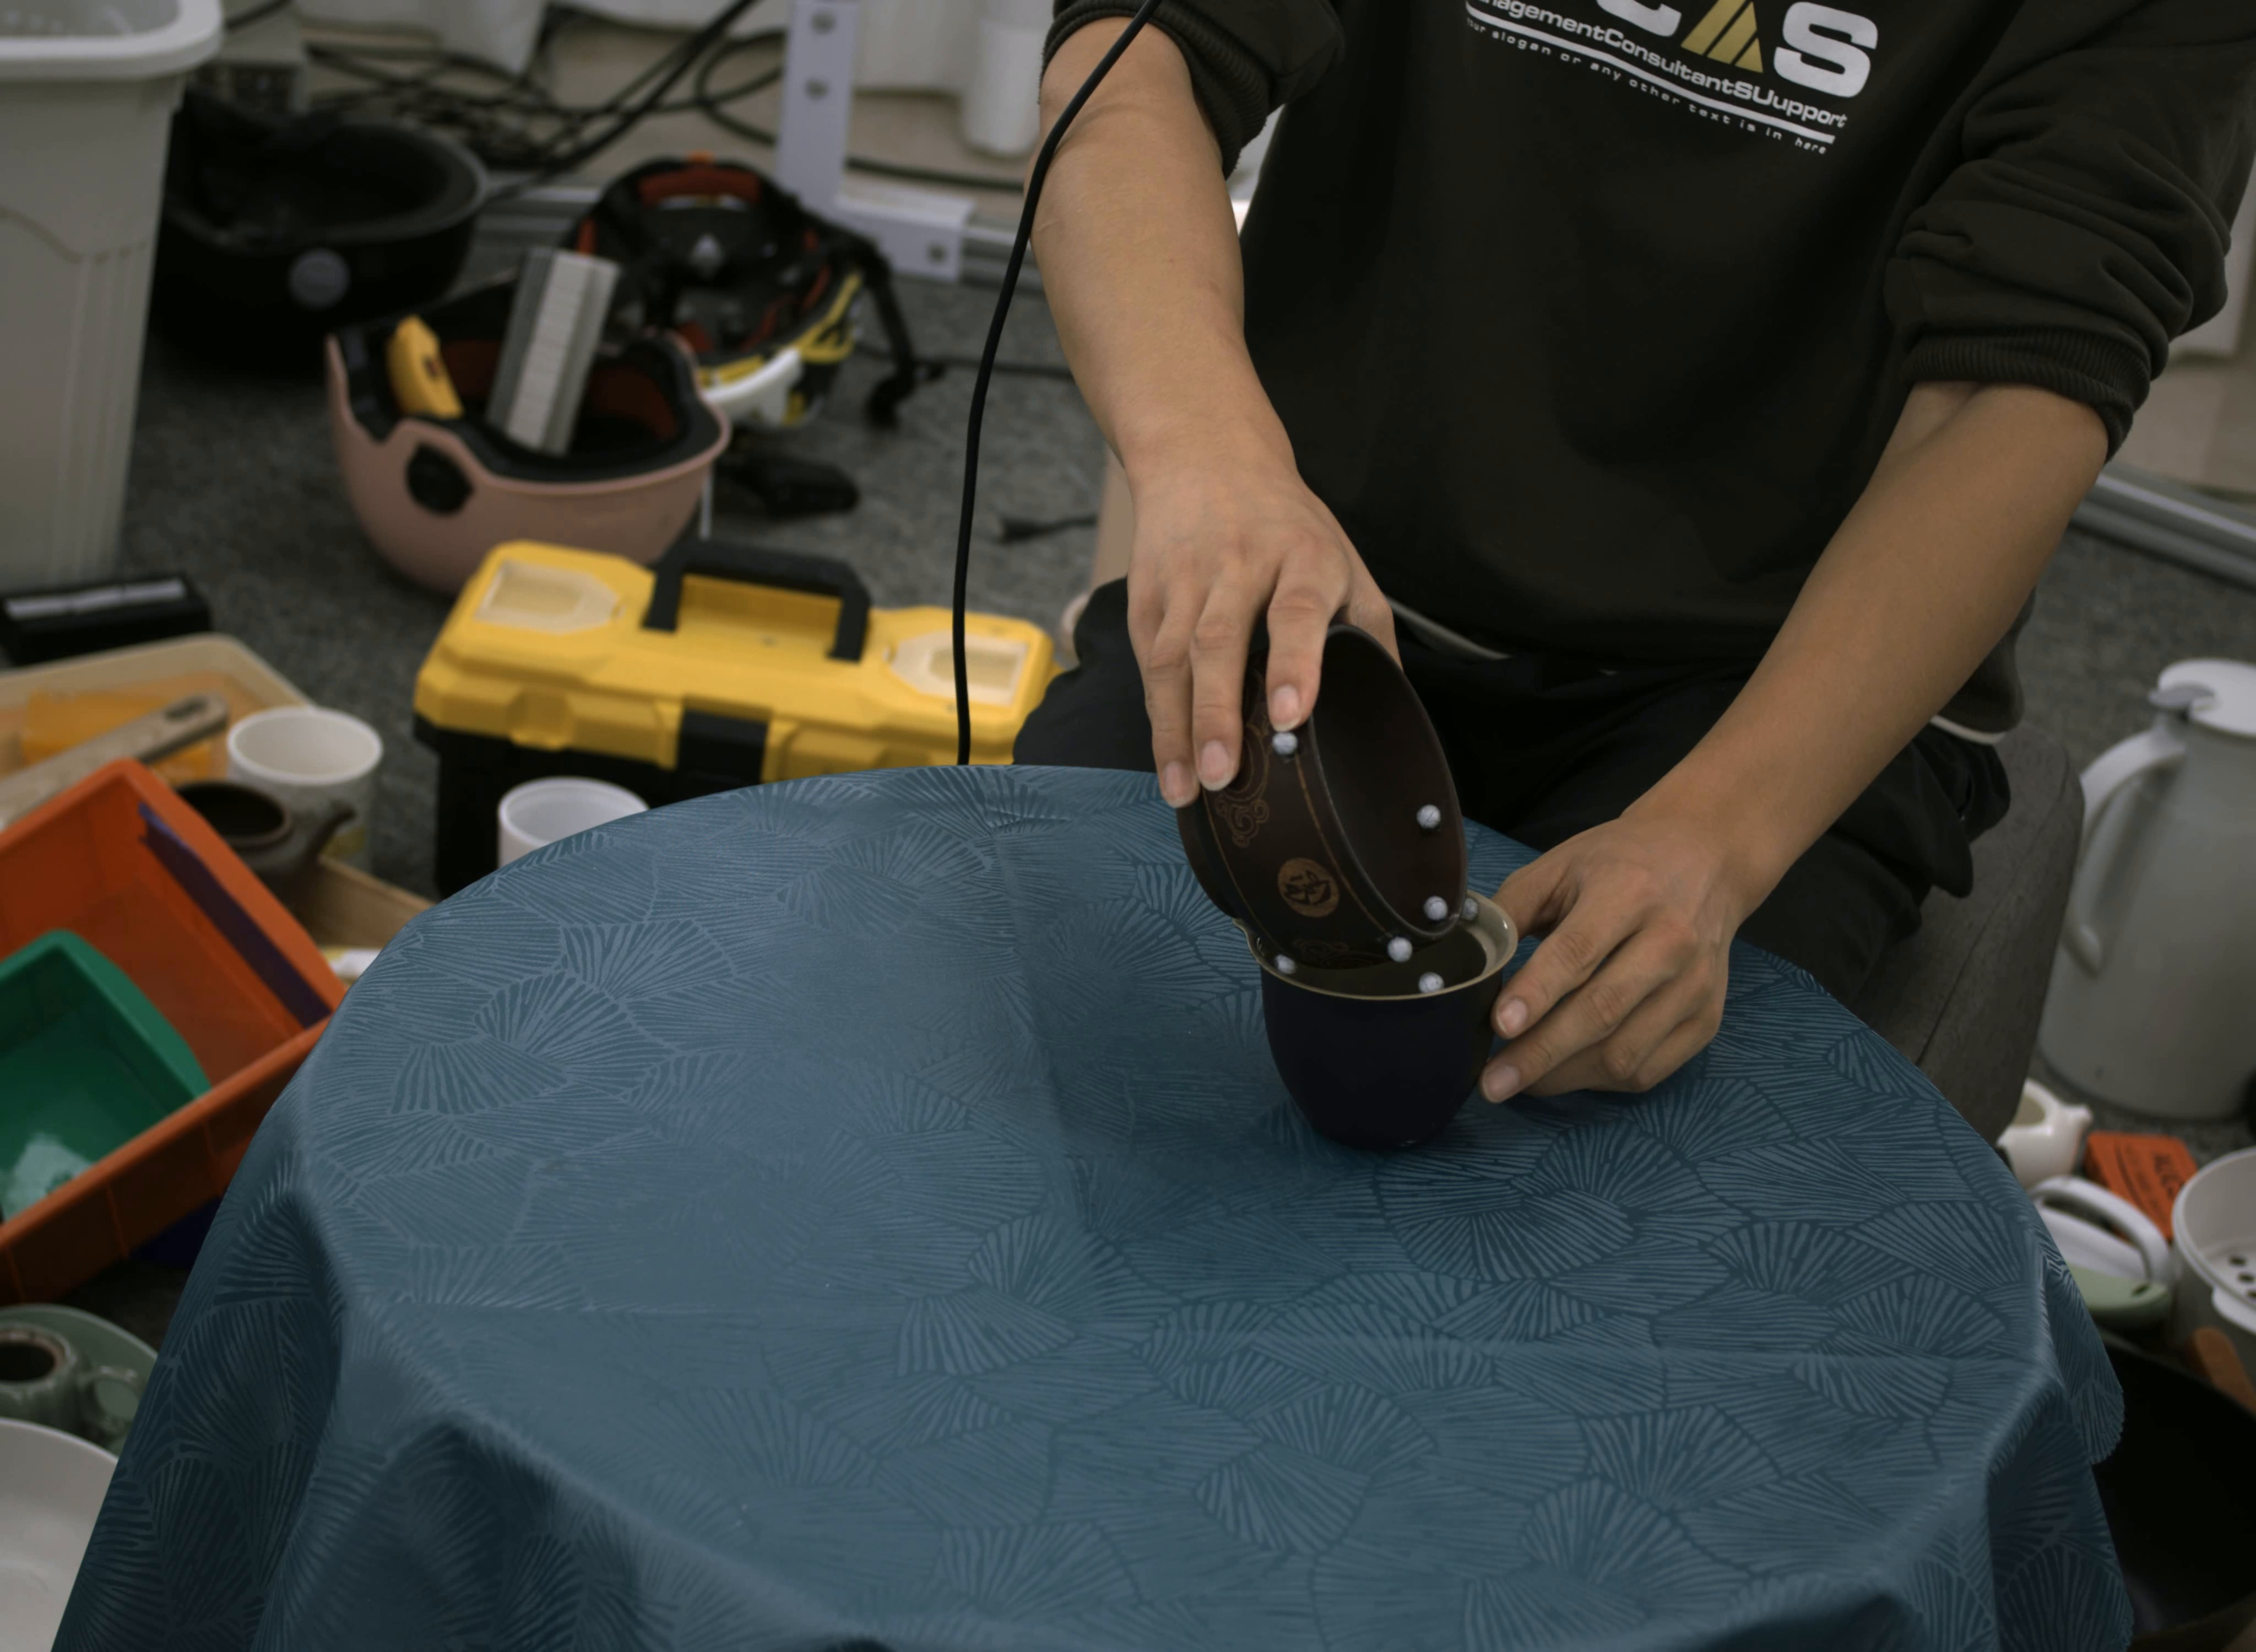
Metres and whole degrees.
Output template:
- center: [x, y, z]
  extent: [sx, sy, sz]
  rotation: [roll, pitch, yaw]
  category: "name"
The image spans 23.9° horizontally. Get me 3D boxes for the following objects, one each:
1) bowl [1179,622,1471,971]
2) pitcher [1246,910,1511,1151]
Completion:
- center: [0.061, -0.005, 1.824]
  extent: [0.070, 0.117, 0.118]
  rotation: [-22, 17, 23]
  category: "bowl"
- center: [0.087, 0.069, 1.850]
  extent: [0.096, 0.071, 0.083]
  rotation: [10, 31, 28]
  category: "pitcher"
